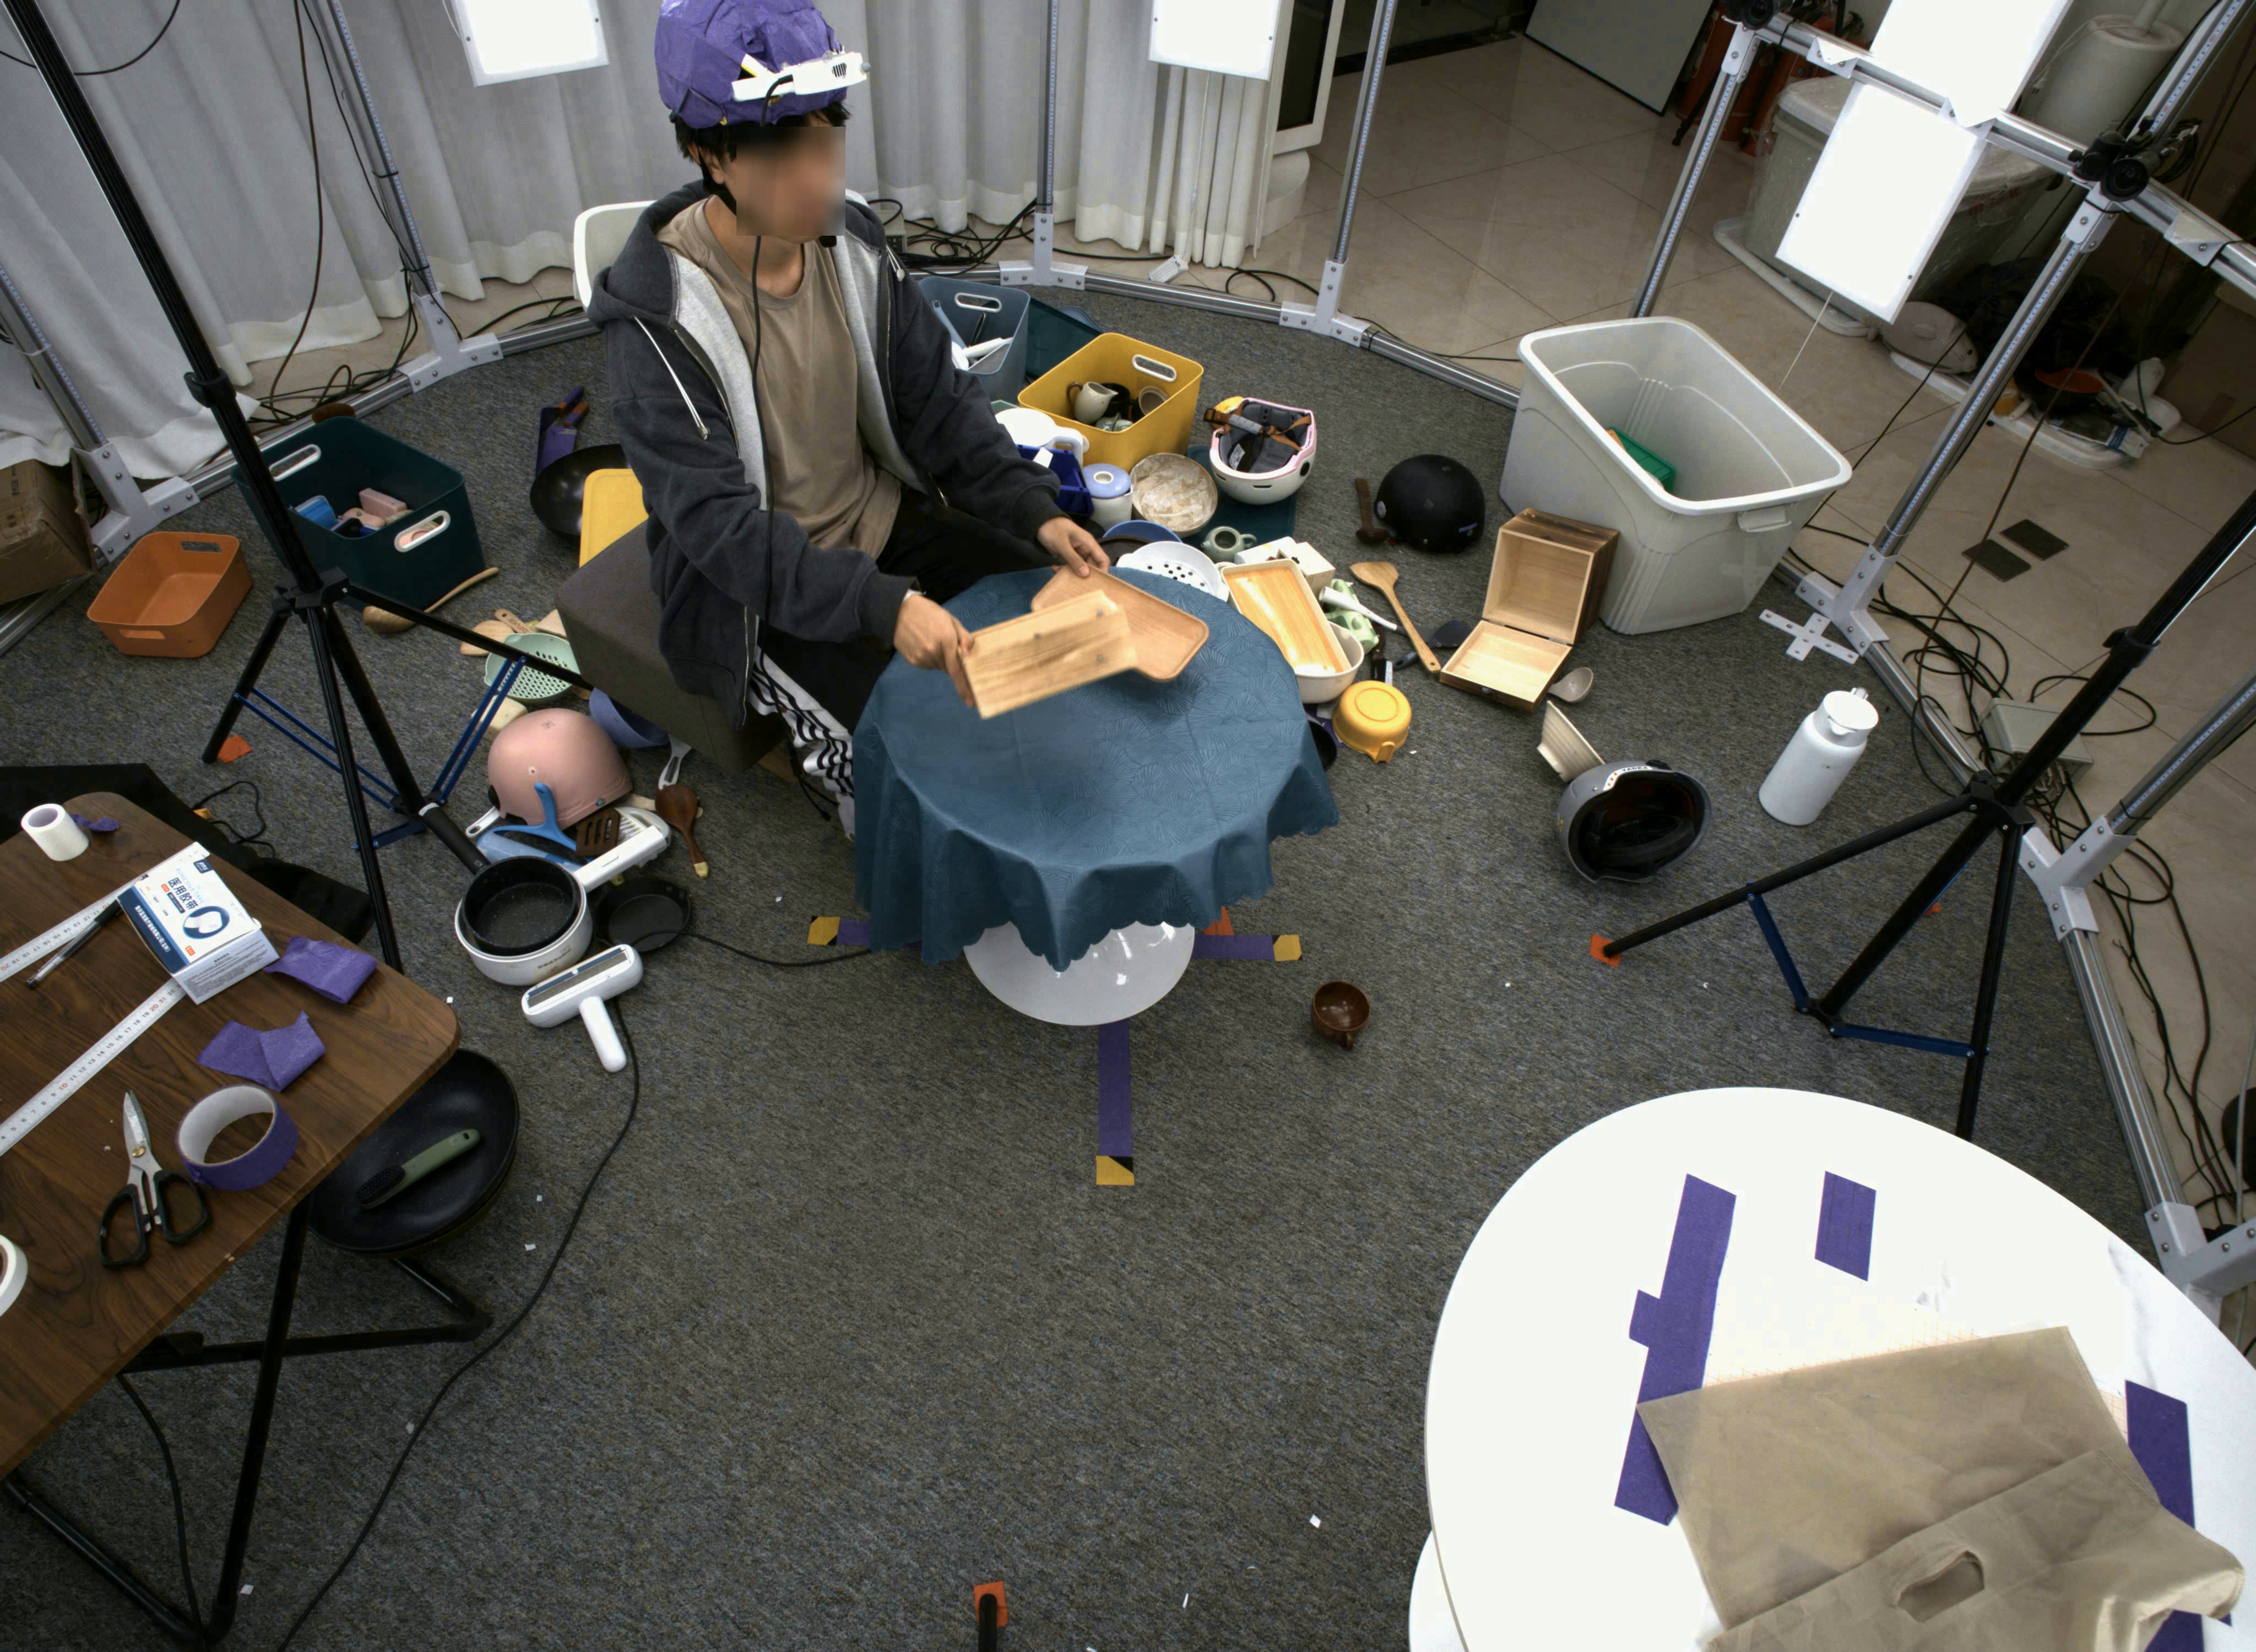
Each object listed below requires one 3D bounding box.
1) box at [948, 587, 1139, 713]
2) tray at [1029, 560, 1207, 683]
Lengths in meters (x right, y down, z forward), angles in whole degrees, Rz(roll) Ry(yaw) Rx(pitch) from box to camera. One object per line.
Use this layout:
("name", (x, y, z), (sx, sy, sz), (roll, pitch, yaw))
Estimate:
("box", (-0.108, -0.225, 1.629), (0.211, 0.079, 0.109), (-21, 24, -10))
("tray", (-0.015, -0.295, 1.846), (0.253, 0.022, 0.132), (30, 59, 20))
